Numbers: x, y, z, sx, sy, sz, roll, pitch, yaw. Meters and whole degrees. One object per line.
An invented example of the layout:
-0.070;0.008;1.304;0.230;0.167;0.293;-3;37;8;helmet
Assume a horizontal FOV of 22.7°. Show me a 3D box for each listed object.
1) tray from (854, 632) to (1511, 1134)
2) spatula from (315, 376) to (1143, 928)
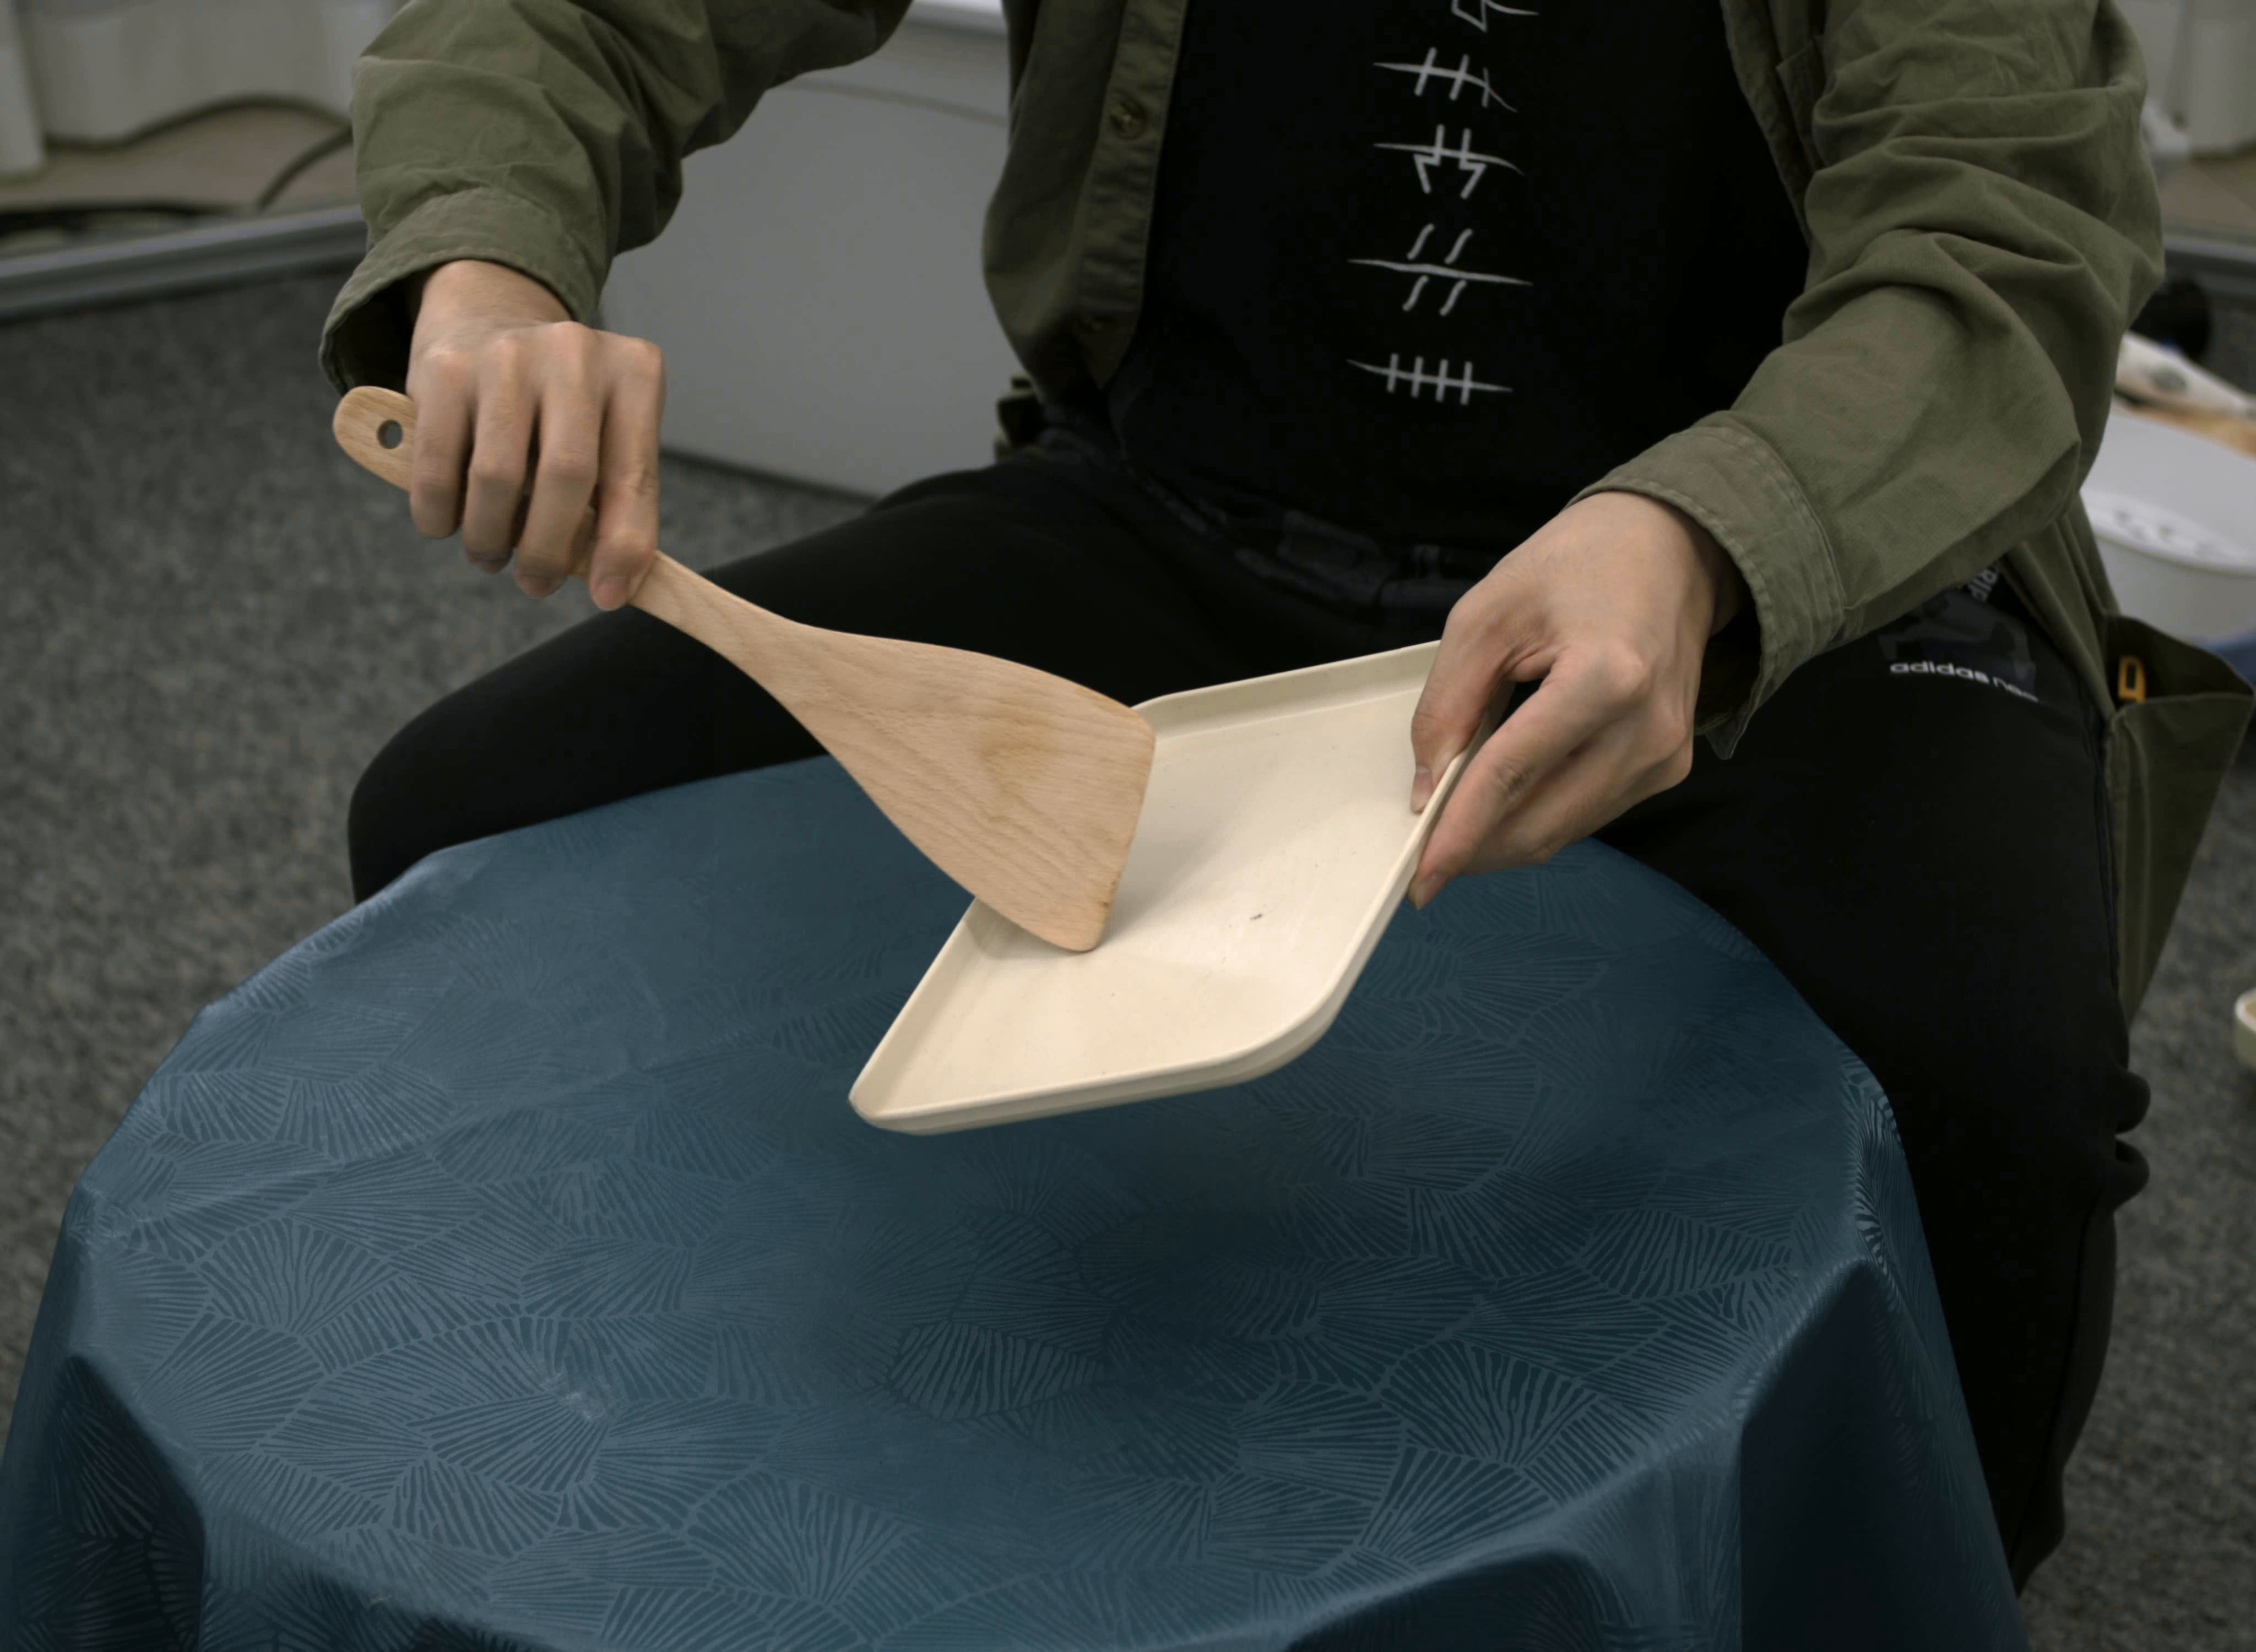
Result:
0.021;0.018;1.775;0.169;0.017;0.244;-11;28;30;tray
-0.134;-0.071;1.834;0.327;0.080;0.016;28;7;18;spatula
